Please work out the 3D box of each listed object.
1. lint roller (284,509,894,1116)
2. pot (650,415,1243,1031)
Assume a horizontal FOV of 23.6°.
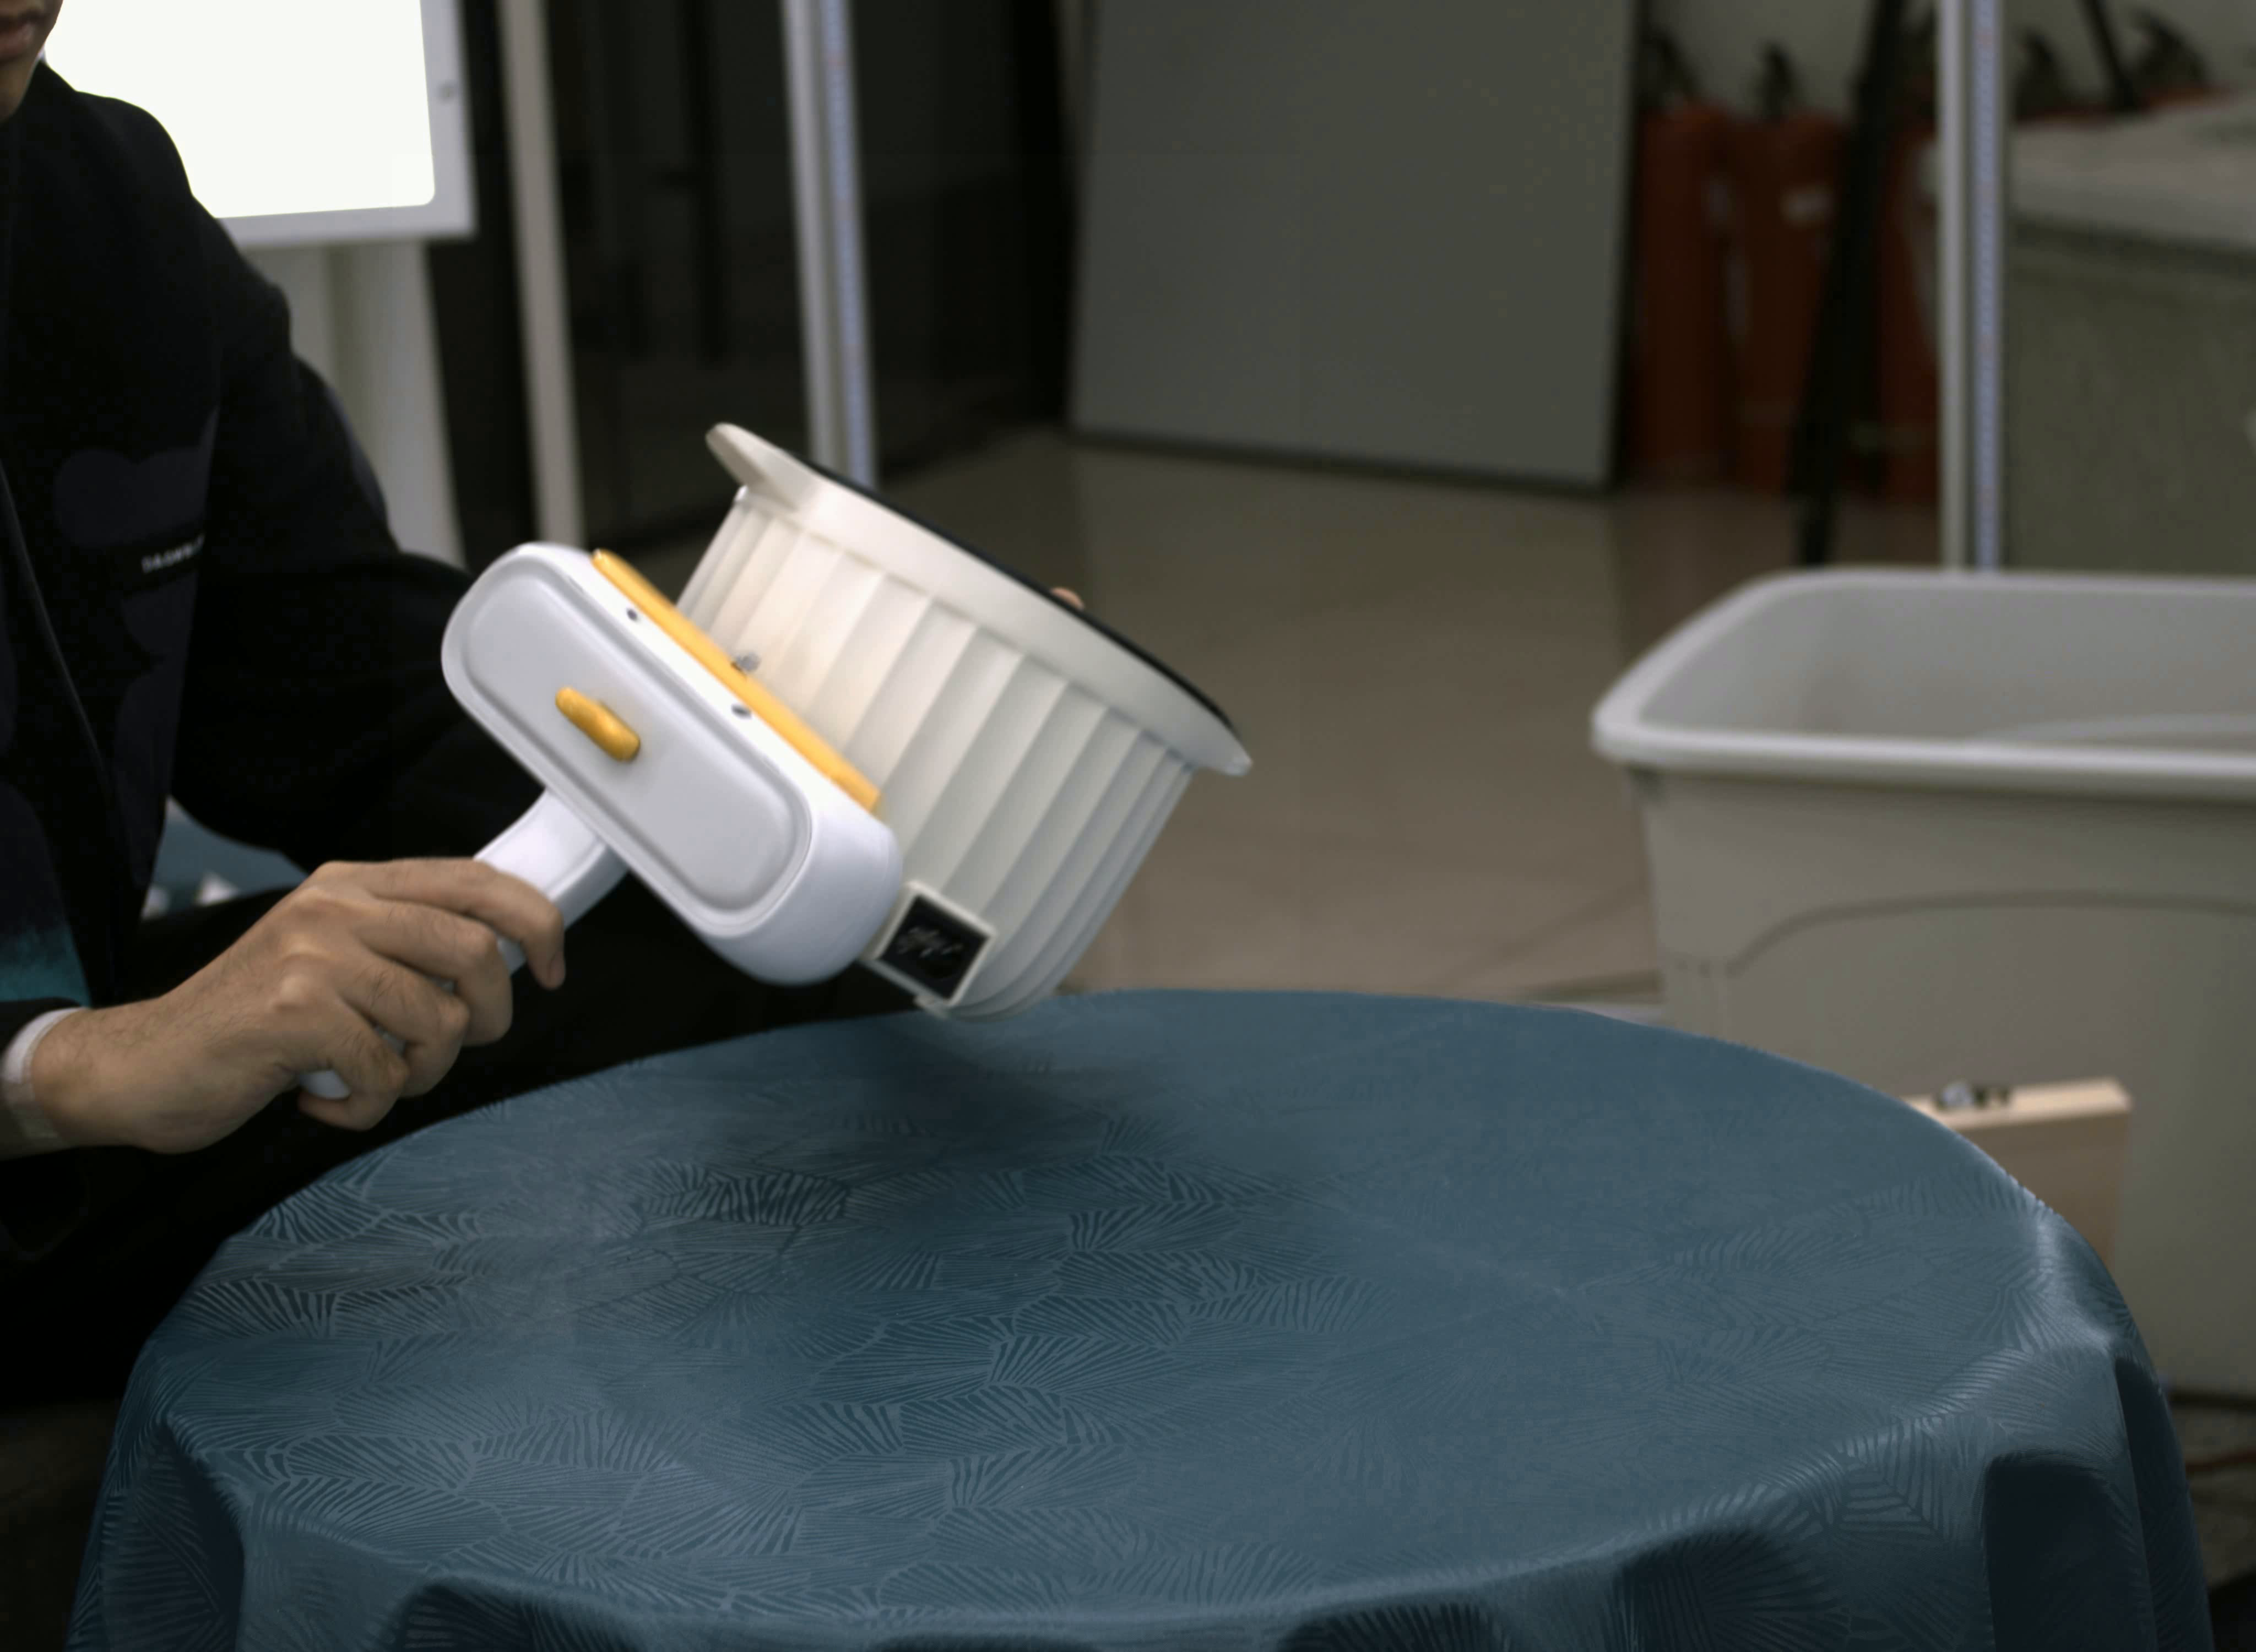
[{"bbox_3d":[-0.188,0.013,1.705,0.194,0.193,0.073,36,-2,30],"label":"lint roller"},{"bbox_3d":[-0.083,-0.024,1.807,0.236,0.143,0.192,34,-2,-30],"label":"pot"}]
